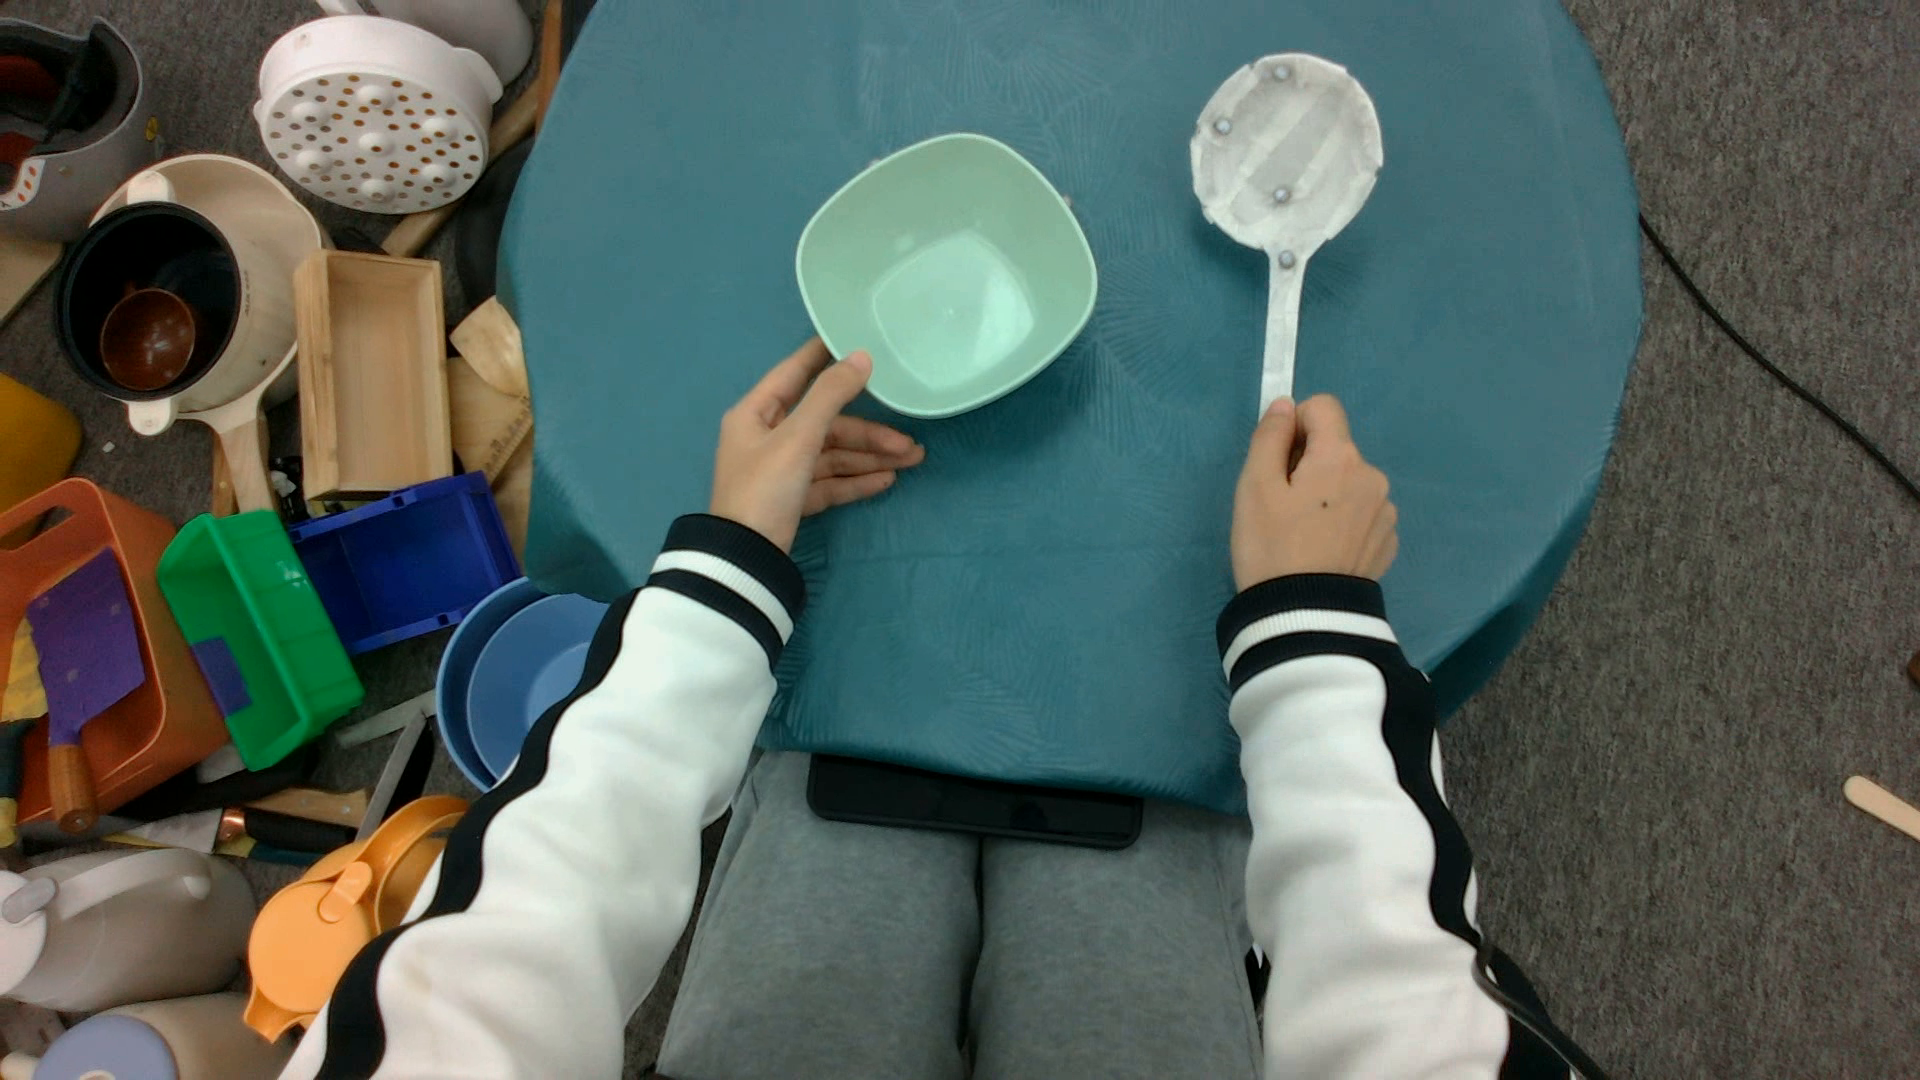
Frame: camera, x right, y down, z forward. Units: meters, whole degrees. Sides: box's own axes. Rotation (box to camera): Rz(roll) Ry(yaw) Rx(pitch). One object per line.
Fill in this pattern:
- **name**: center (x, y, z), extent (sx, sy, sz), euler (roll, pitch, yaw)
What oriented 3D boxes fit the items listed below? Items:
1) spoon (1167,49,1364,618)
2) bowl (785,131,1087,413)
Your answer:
- **spoon**: center (0.132, -0.103, 0.665), extent (0.100, 0.059, 0.278), euler (2, 71, 35)
- **bowl**: center (-0.011, -0.129, 0.707), extent (0.151, 0.058, 0.152), euler (-1, 76, 3)
